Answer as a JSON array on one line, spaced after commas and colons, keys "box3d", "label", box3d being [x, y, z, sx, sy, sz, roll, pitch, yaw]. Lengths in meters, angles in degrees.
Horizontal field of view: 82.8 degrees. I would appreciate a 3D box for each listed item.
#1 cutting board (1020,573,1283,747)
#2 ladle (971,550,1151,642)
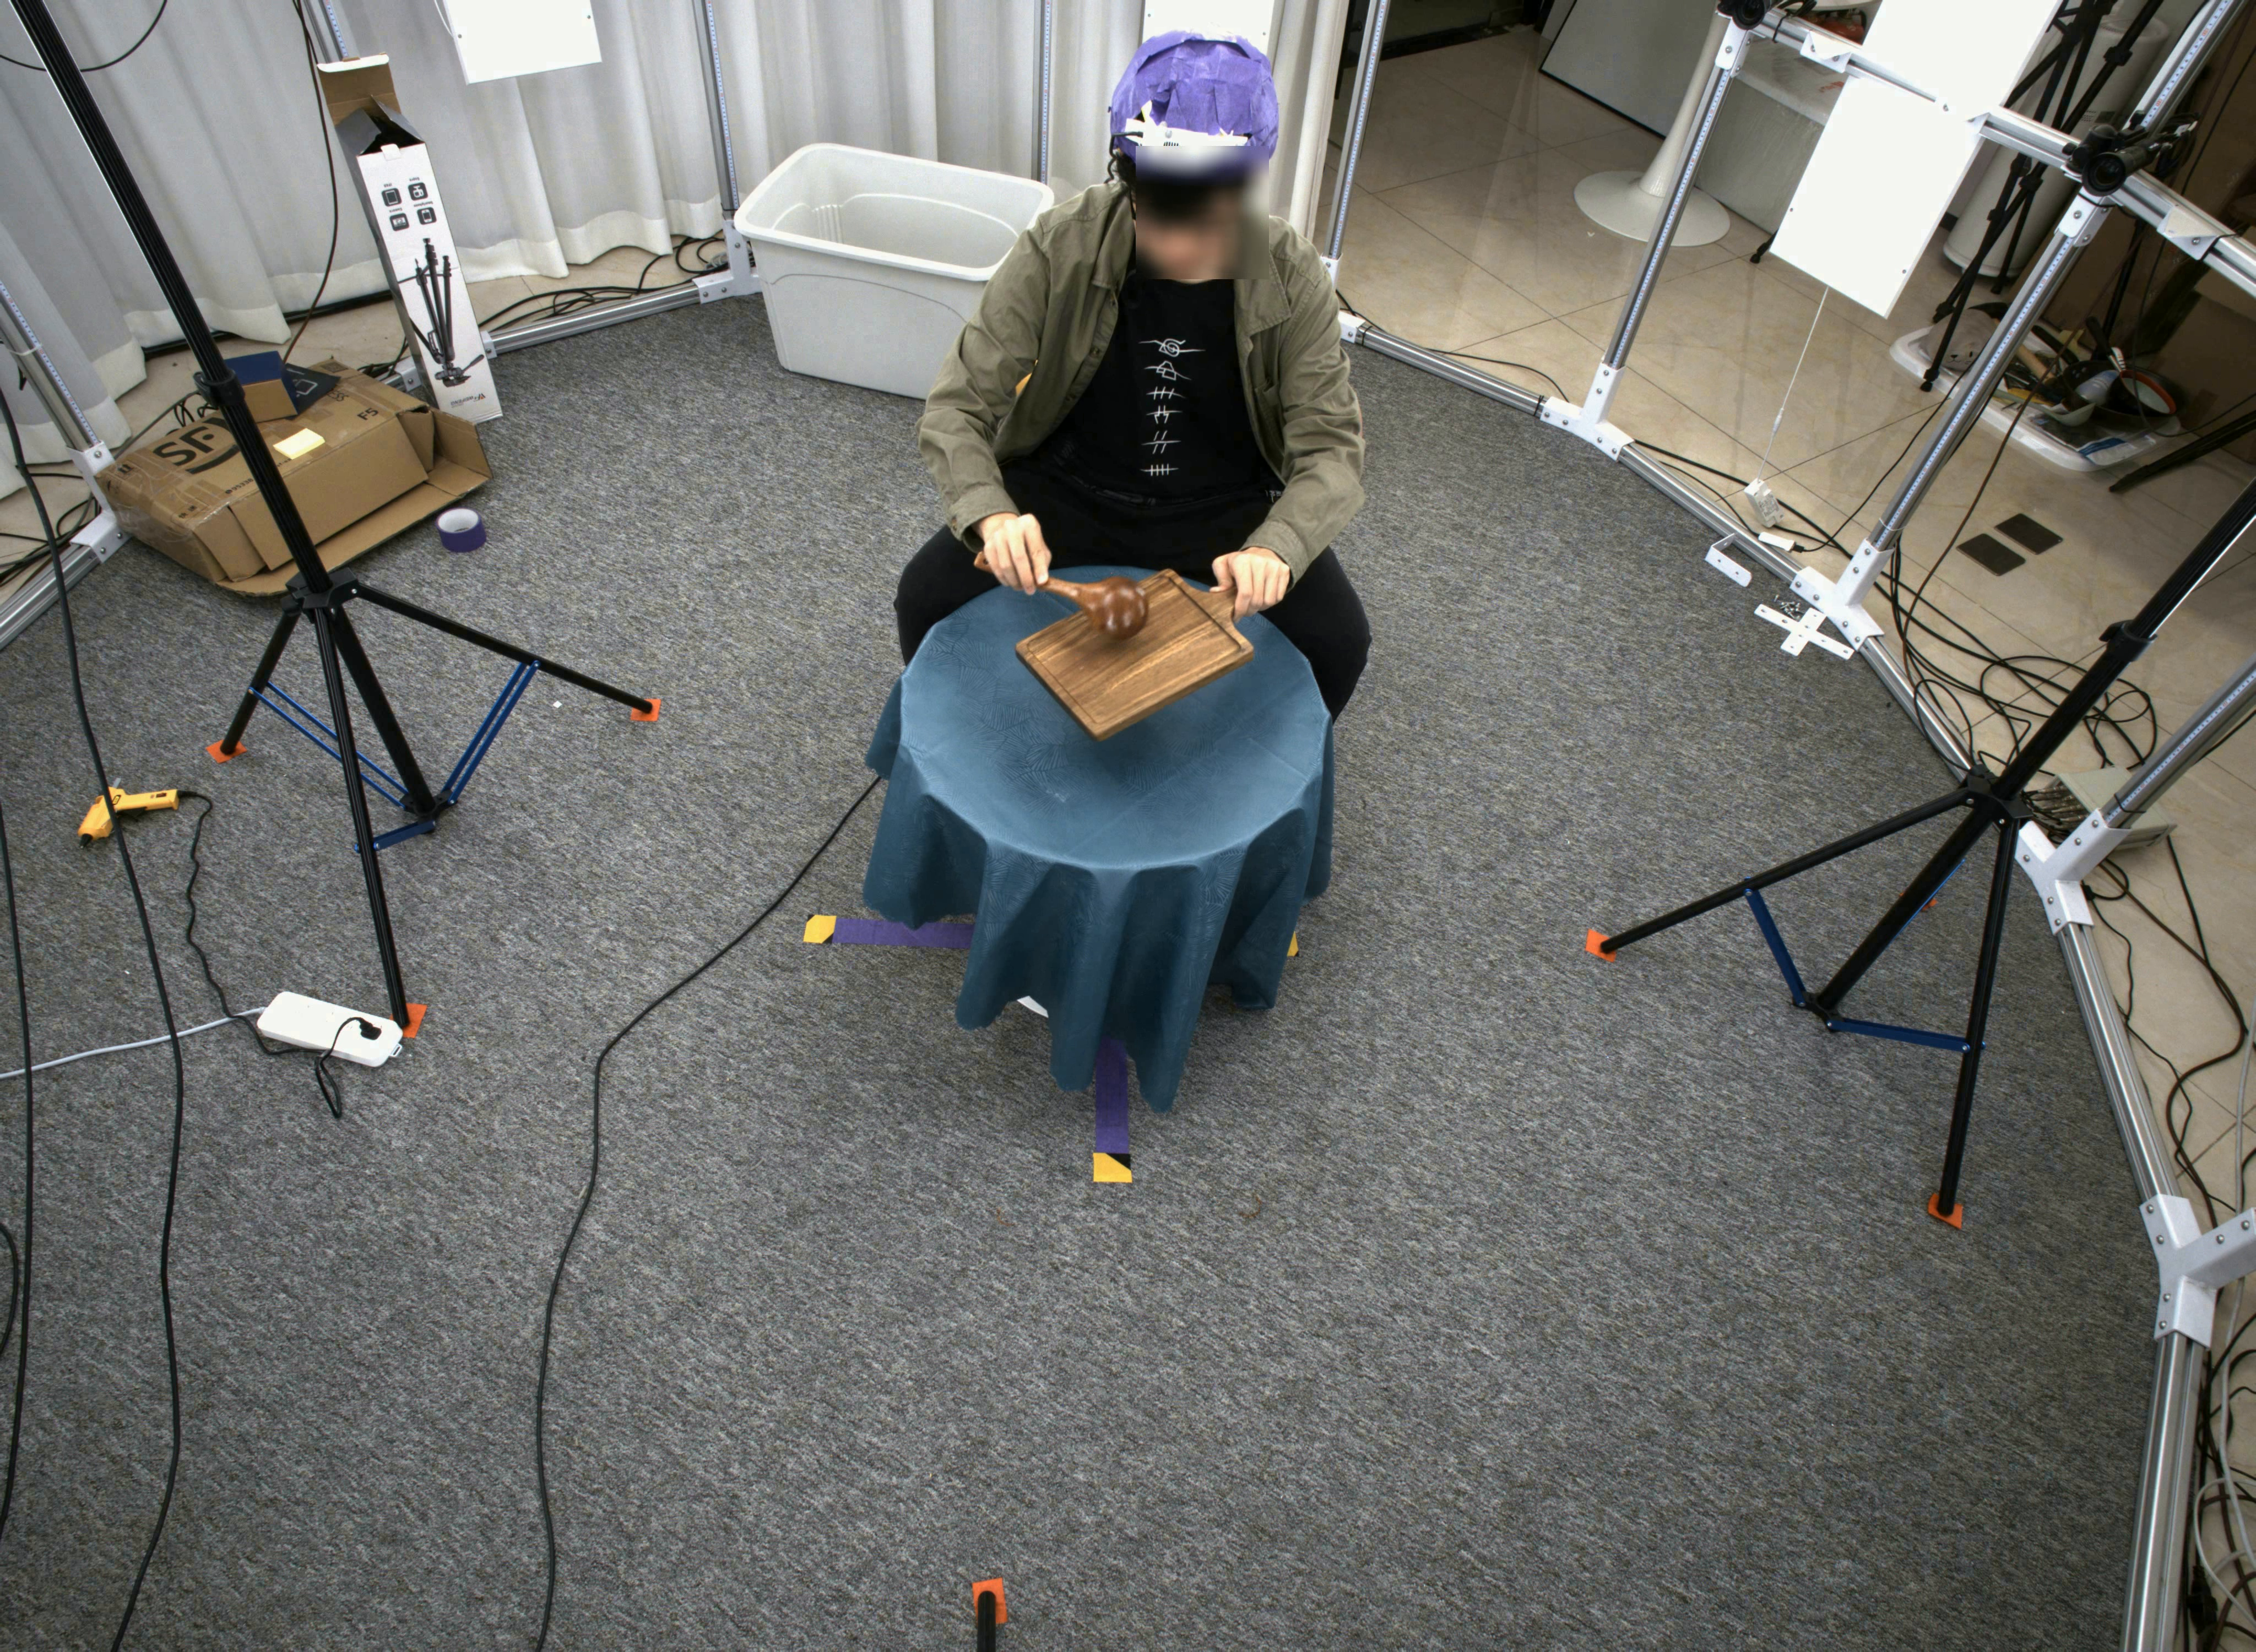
[{"box3d": [0.056, -0.241, 1.660, 0.353, 0.022, 0.205, -28, 55, -18], "label": "cutting board"}, {"box3d": [-0.088, -0.312, 1.687, 0.278, 0.075, 0.082, 25, 89, 37], "label": "ladle"}]
